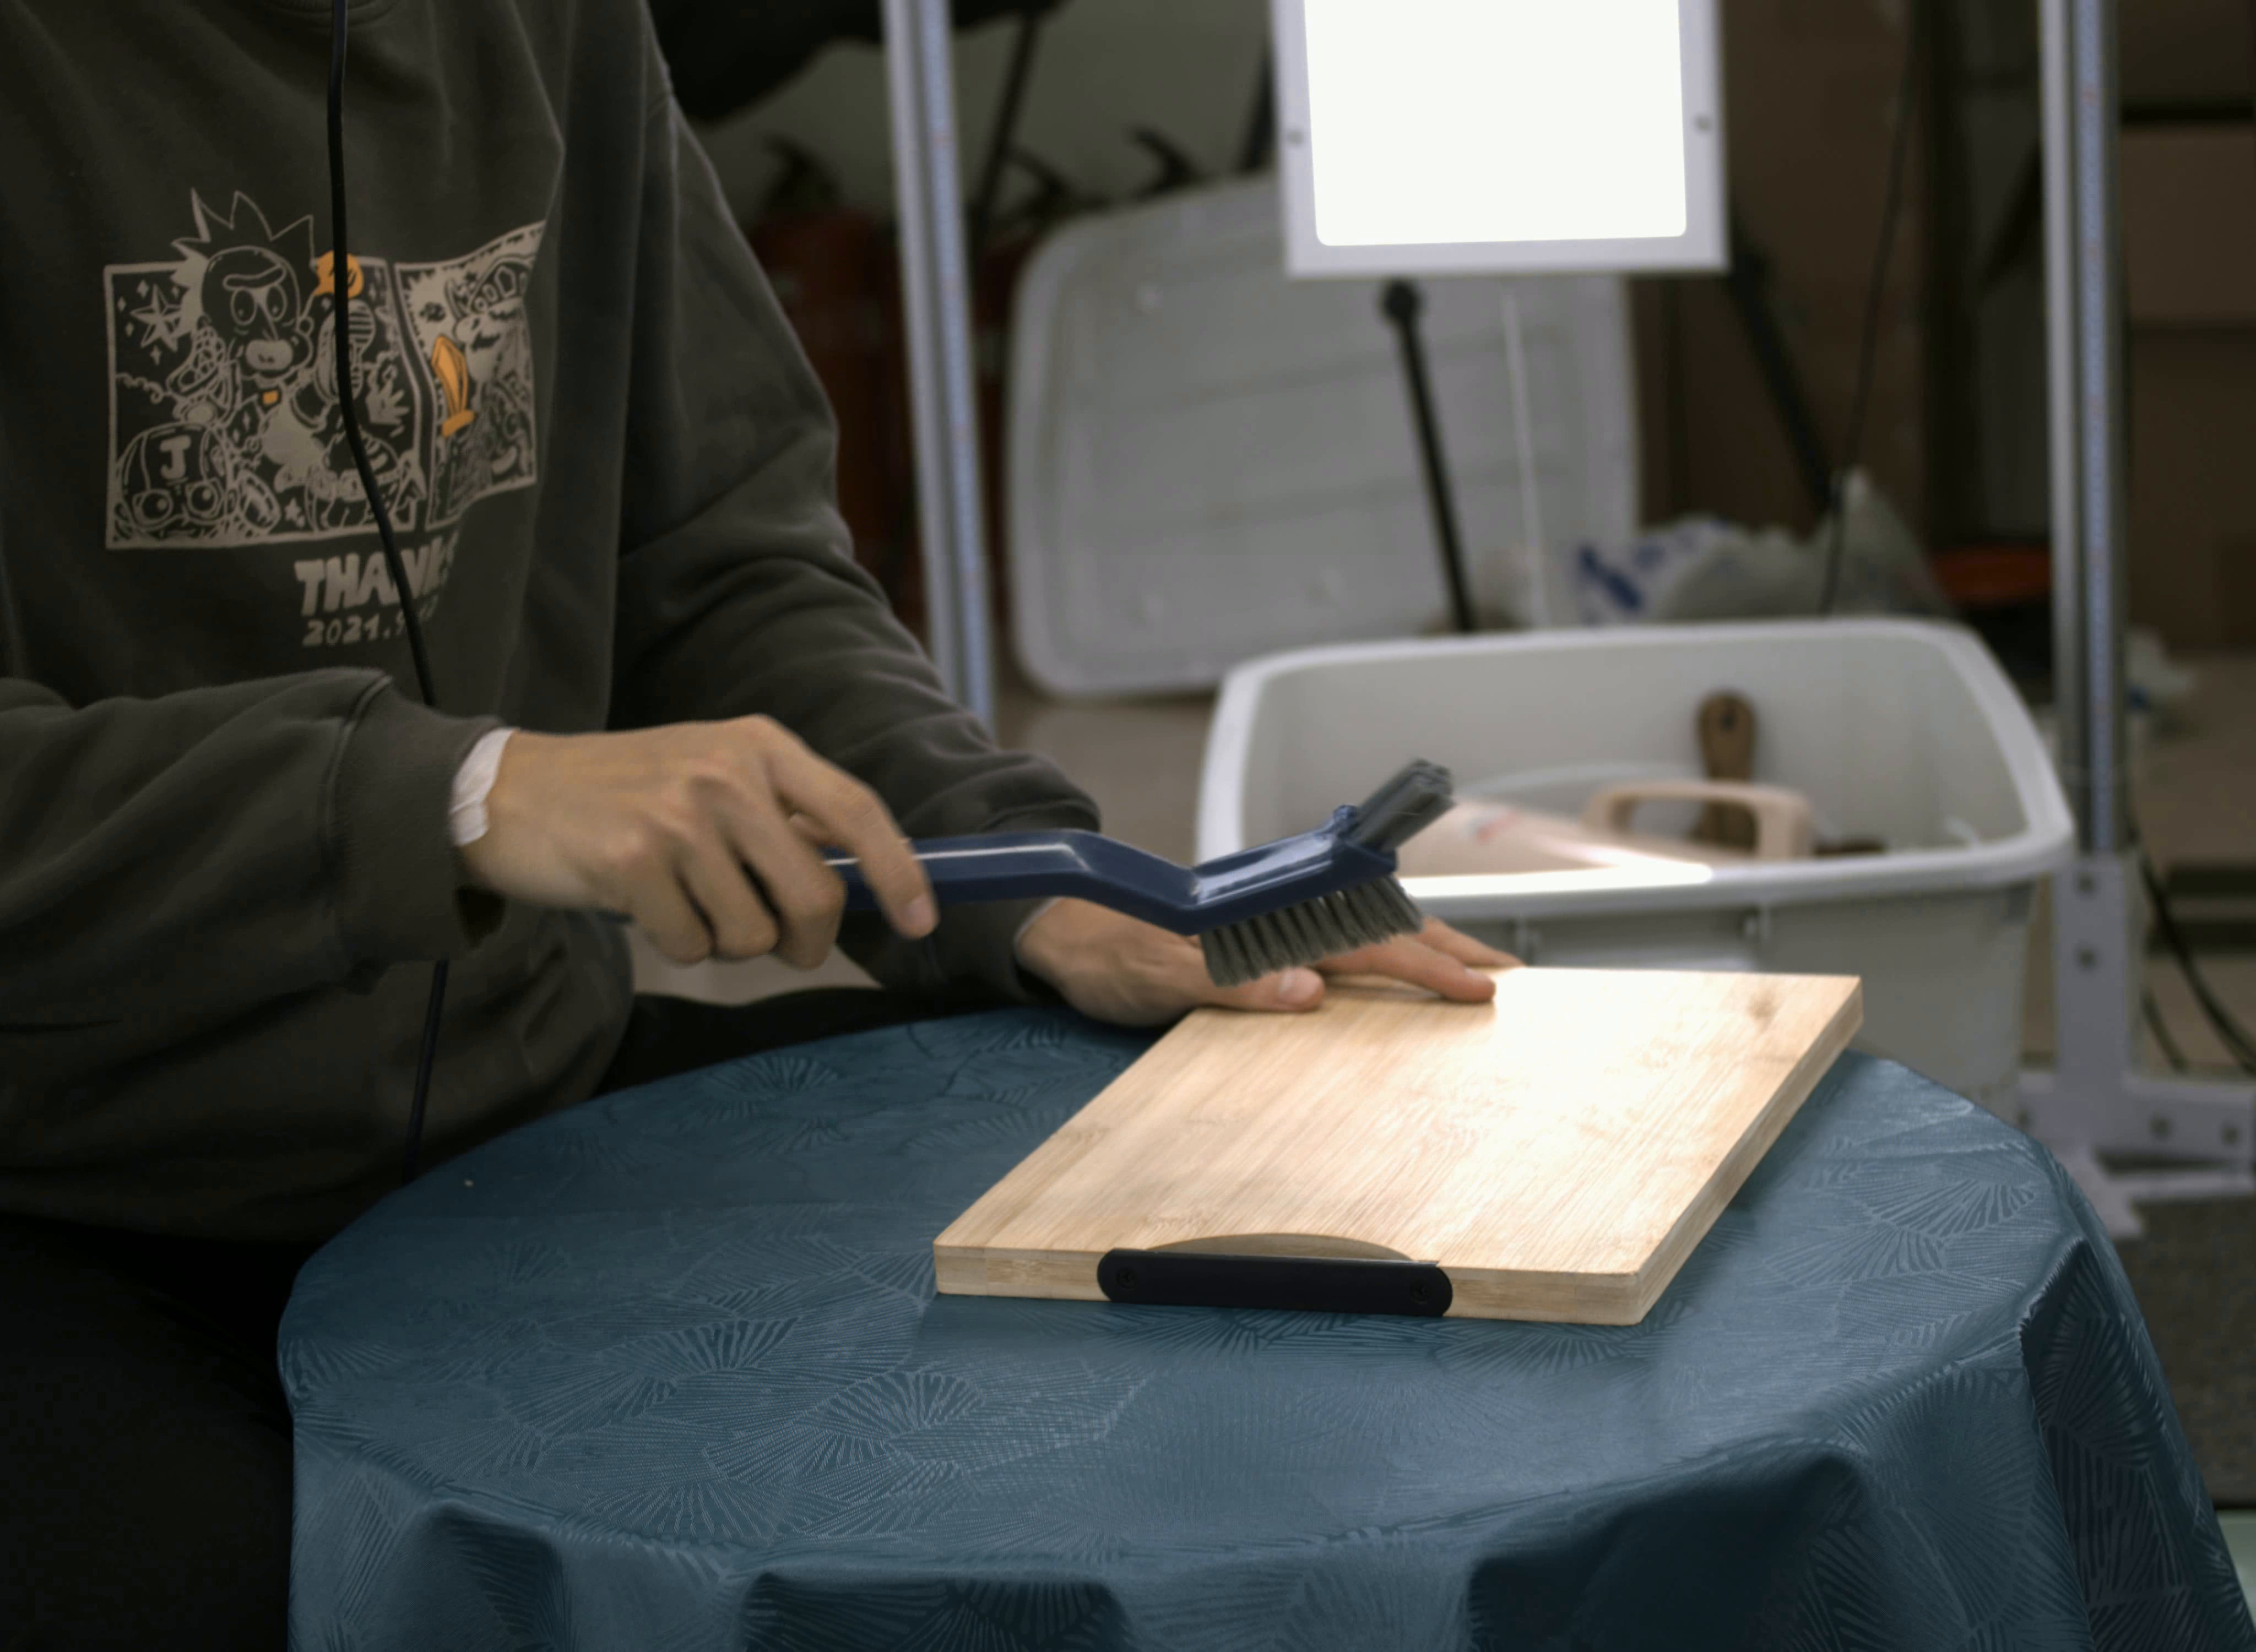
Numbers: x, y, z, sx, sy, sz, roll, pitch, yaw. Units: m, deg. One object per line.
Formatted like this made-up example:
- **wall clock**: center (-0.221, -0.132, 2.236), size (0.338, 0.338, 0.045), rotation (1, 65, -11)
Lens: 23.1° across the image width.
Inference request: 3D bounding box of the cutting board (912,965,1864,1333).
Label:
- **cutting board**: center (0.101, 0.107, 1.907), size (0.254, 0.023, 0.342), rotation (-1, 14, 20)

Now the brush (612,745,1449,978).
- **brush**: center (-0.034, 0.007, 1.821), size (0.272, 0.096, 0.033), rotation (3, 38, -1)
